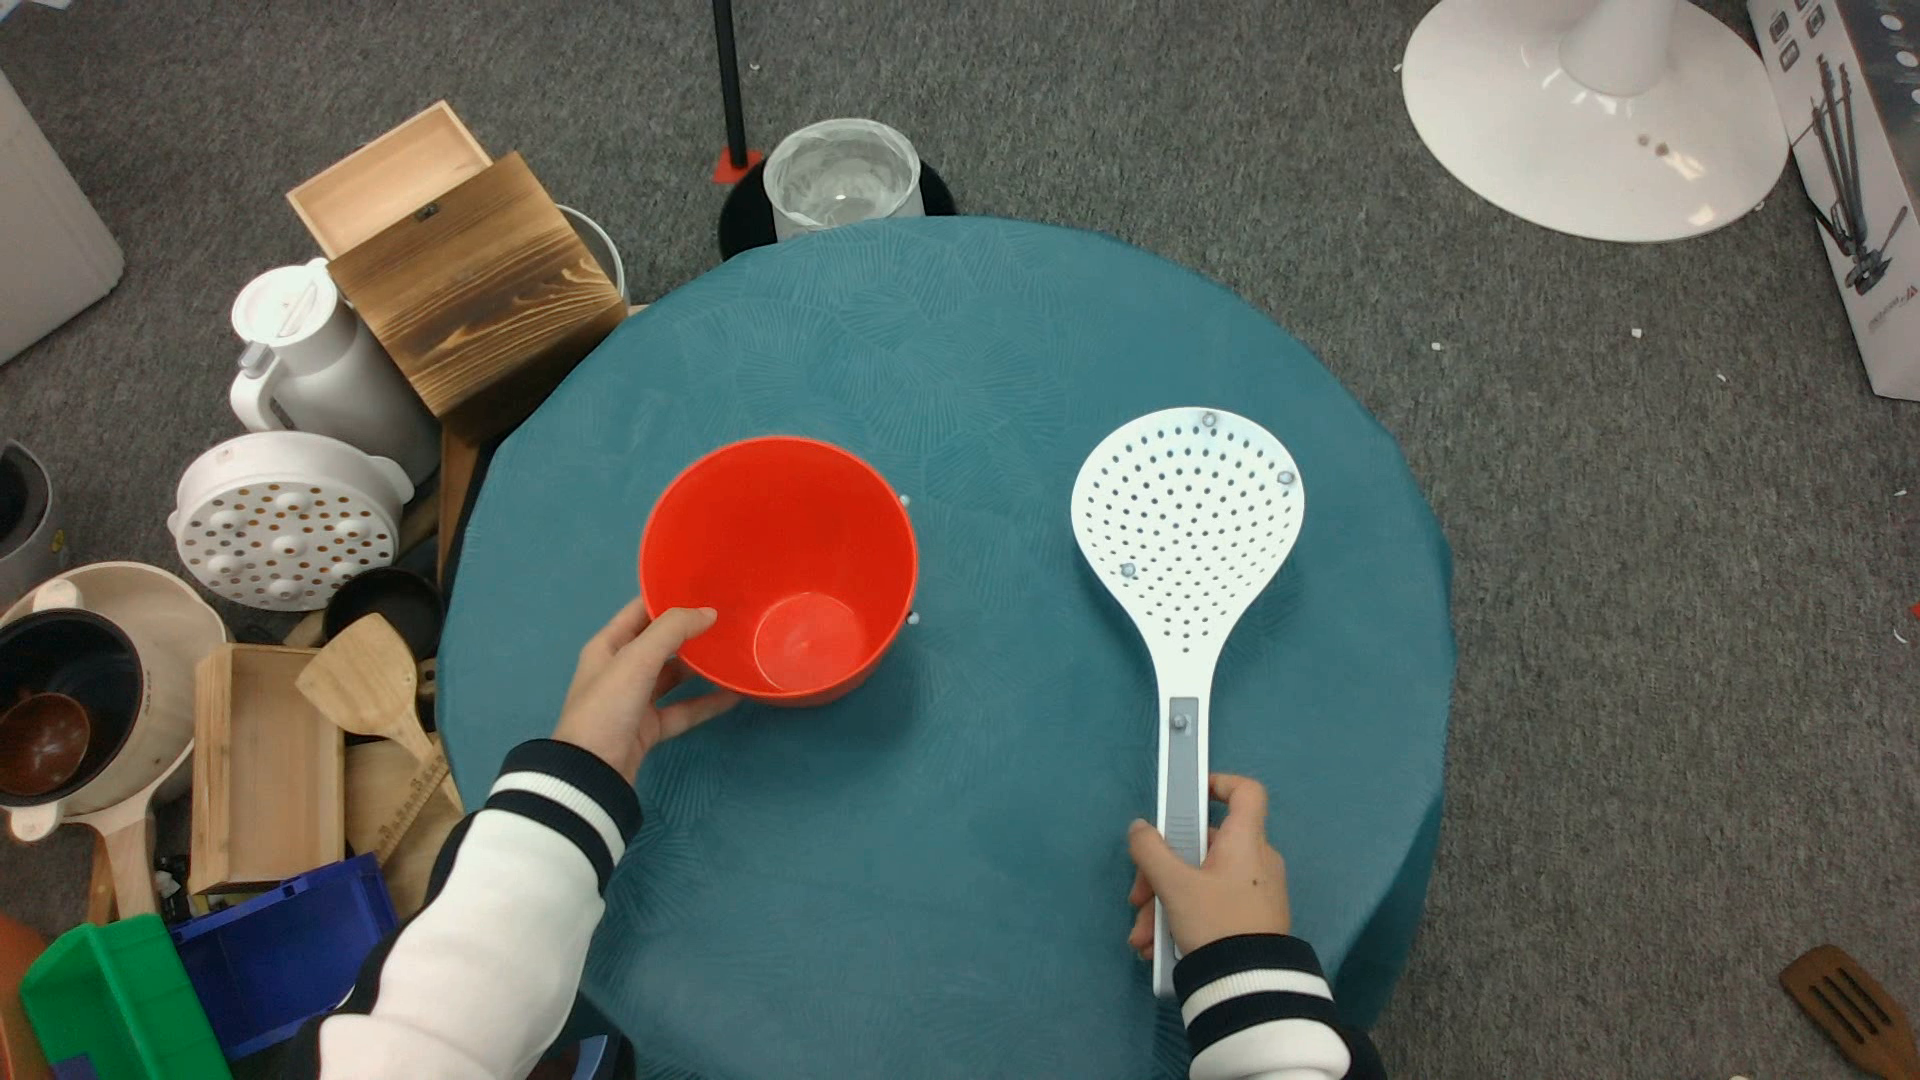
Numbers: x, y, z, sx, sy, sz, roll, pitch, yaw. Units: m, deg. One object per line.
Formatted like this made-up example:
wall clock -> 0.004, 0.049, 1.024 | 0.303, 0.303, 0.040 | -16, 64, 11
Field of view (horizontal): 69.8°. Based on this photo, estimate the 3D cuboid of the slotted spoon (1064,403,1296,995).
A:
slotted spoon -> 0.120, 0.072, 0.766 | 0.136, 0.045, 0.351 | 0, 55, 12

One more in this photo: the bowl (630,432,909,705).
bowl -> -0.102, 0.028, 0.771 | 0.148, 0.104, 0.148 | 1, 61, -2
